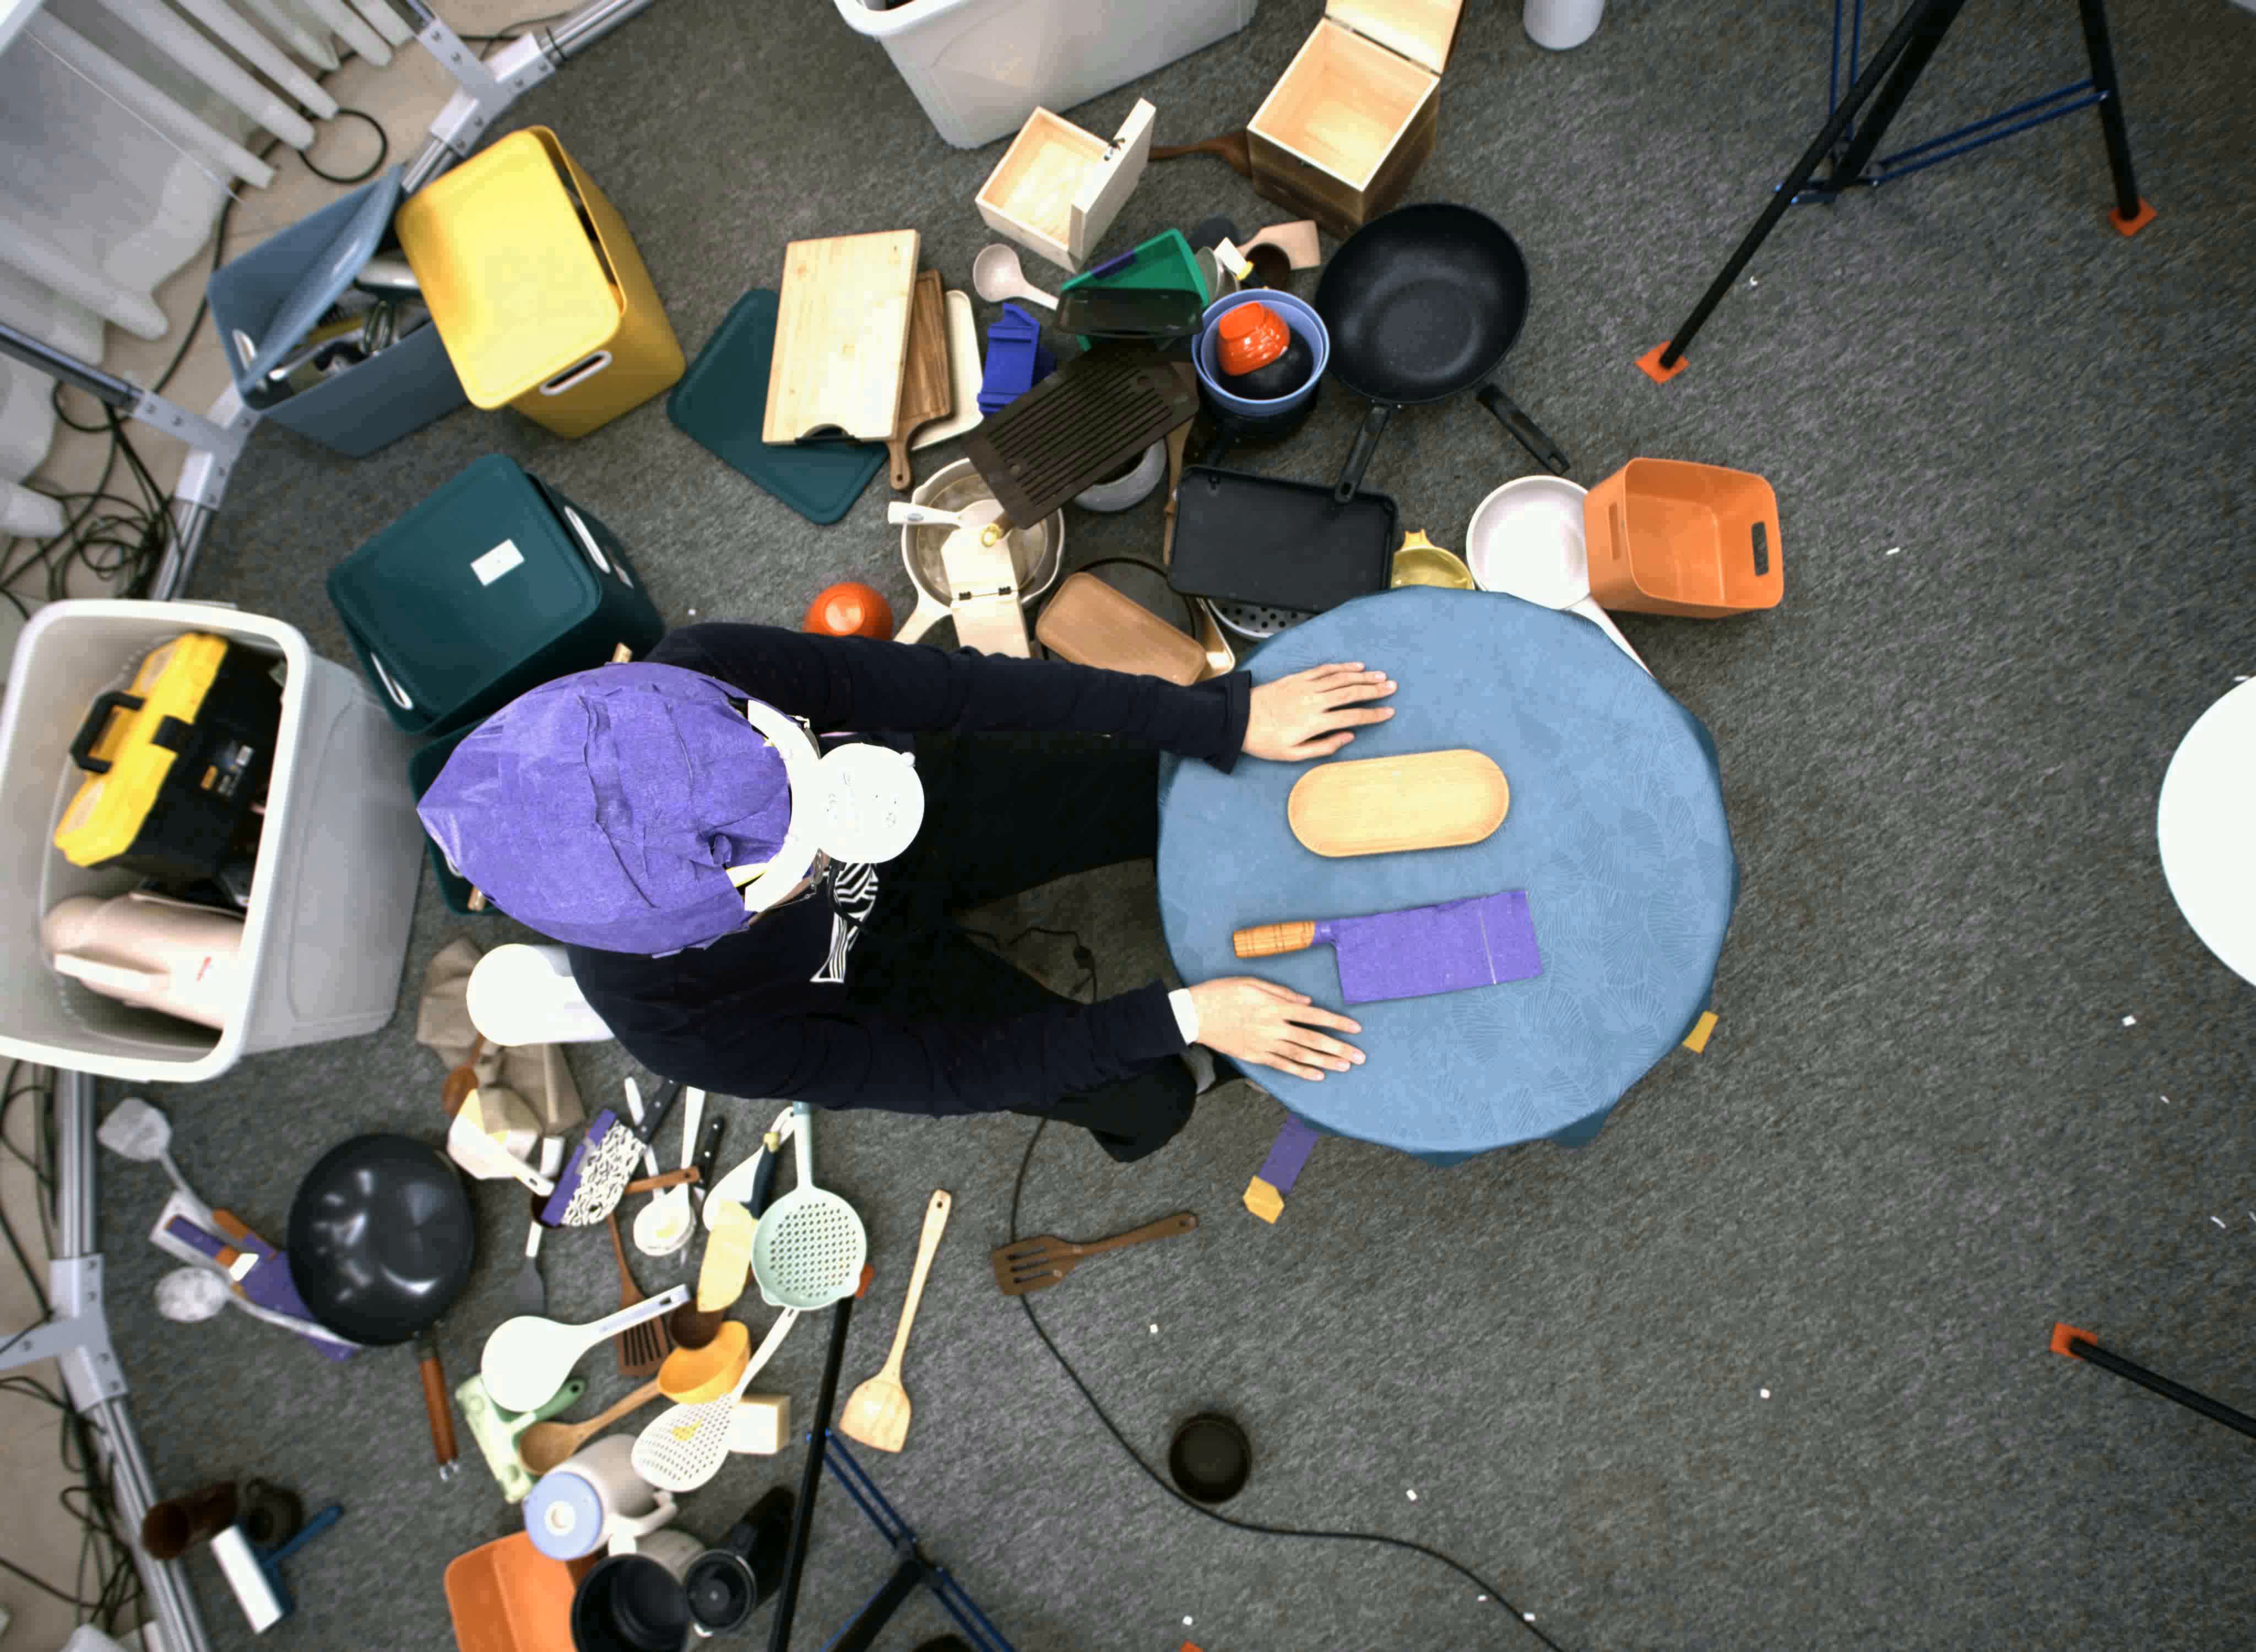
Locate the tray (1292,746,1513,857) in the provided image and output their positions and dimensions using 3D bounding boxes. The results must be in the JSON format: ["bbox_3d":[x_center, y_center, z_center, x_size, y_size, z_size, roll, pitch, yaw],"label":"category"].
[{"bbox_3d":[0.288,-0.026,1.454,0.232,0.020,0.101,-8,86,9],"label":"tray"}]

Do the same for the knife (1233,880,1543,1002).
[{"bbox_3d":[0.271,0.131,1.443,0.317,0.032,0.103,-11,84,10],"label":"knife"}]
